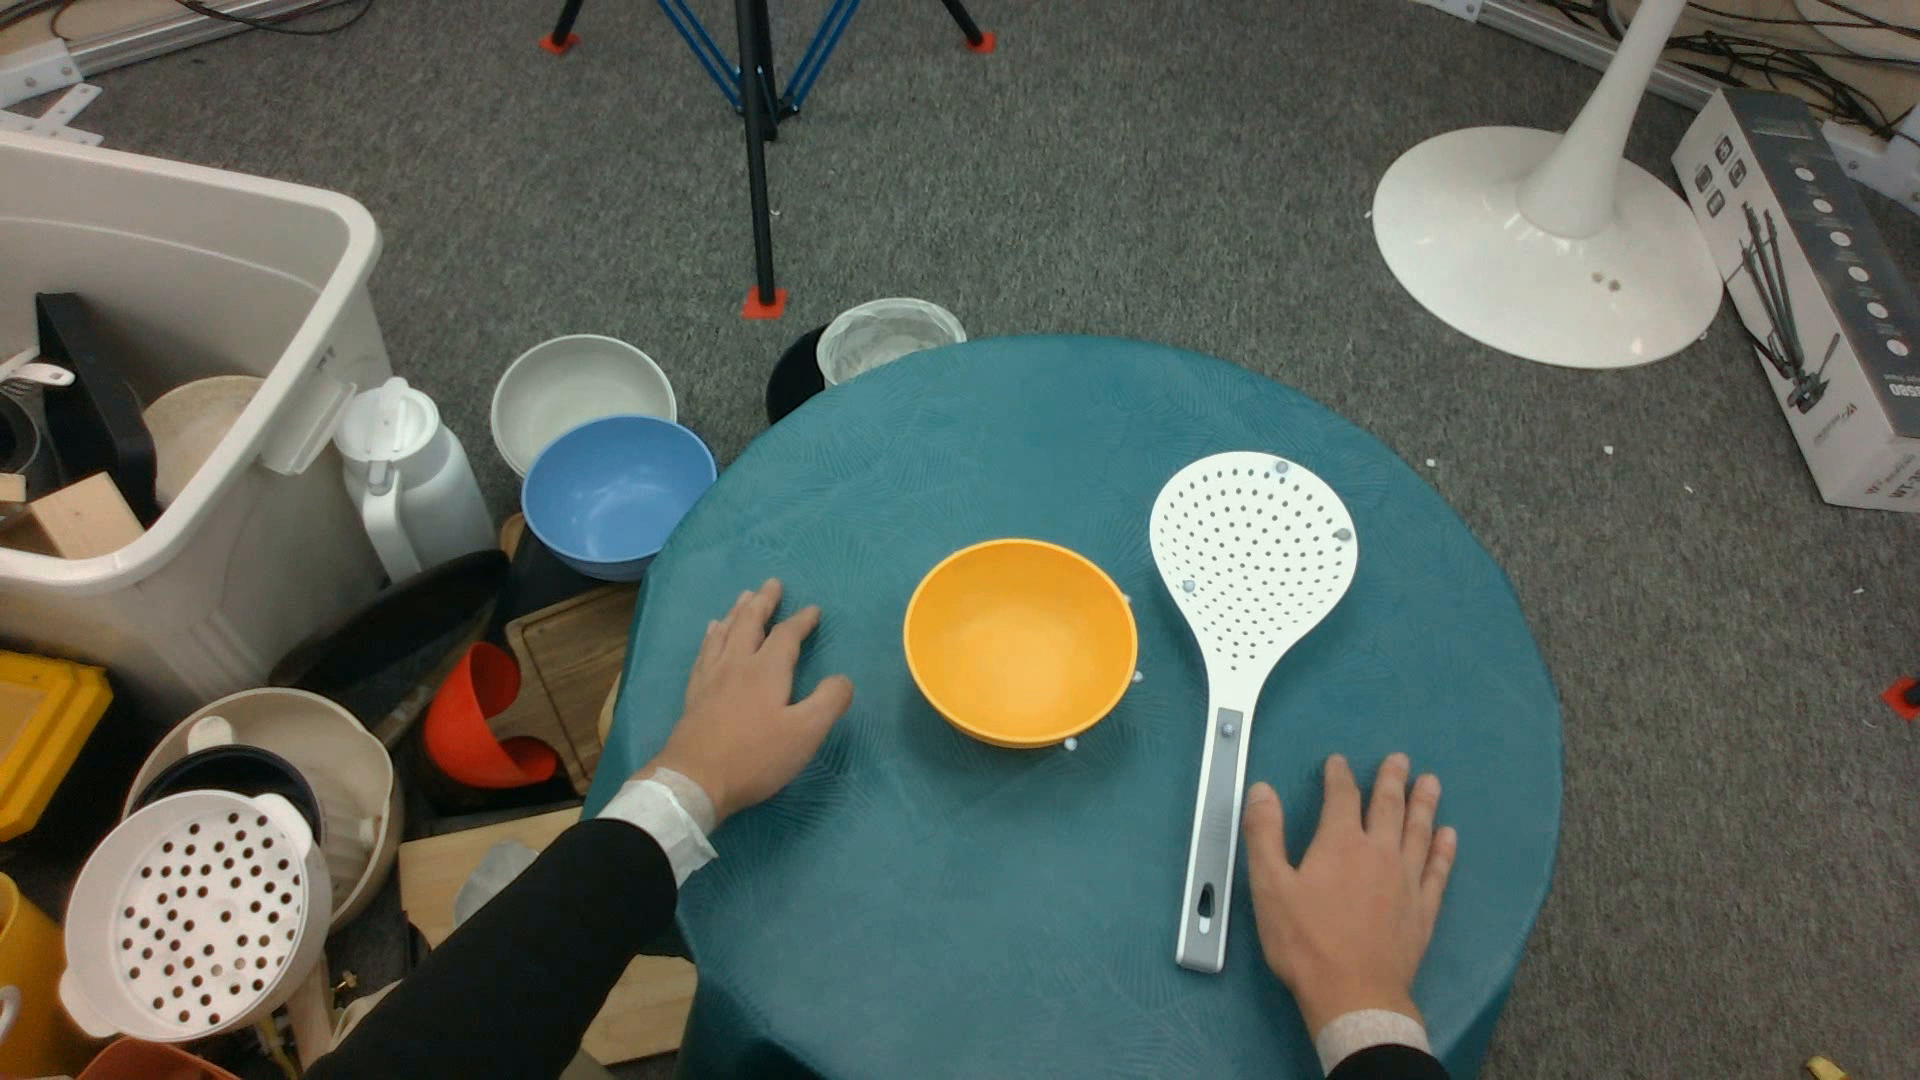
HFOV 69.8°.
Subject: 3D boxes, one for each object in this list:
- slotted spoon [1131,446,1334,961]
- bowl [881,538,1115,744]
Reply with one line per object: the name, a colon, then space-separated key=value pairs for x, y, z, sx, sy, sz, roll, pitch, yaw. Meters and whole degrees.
slotted spoon: x=0.158 y=0.089 z=0.868 sx=0.136 sy=0.045 sz=0.351 roll=11 pitch=56 yaw=4
bowl: x=0.022 y=0.073 z=0.863 sx=0.145 sy=0.060 sz=0.146 roll=2 pitch=53 yaw=-2
